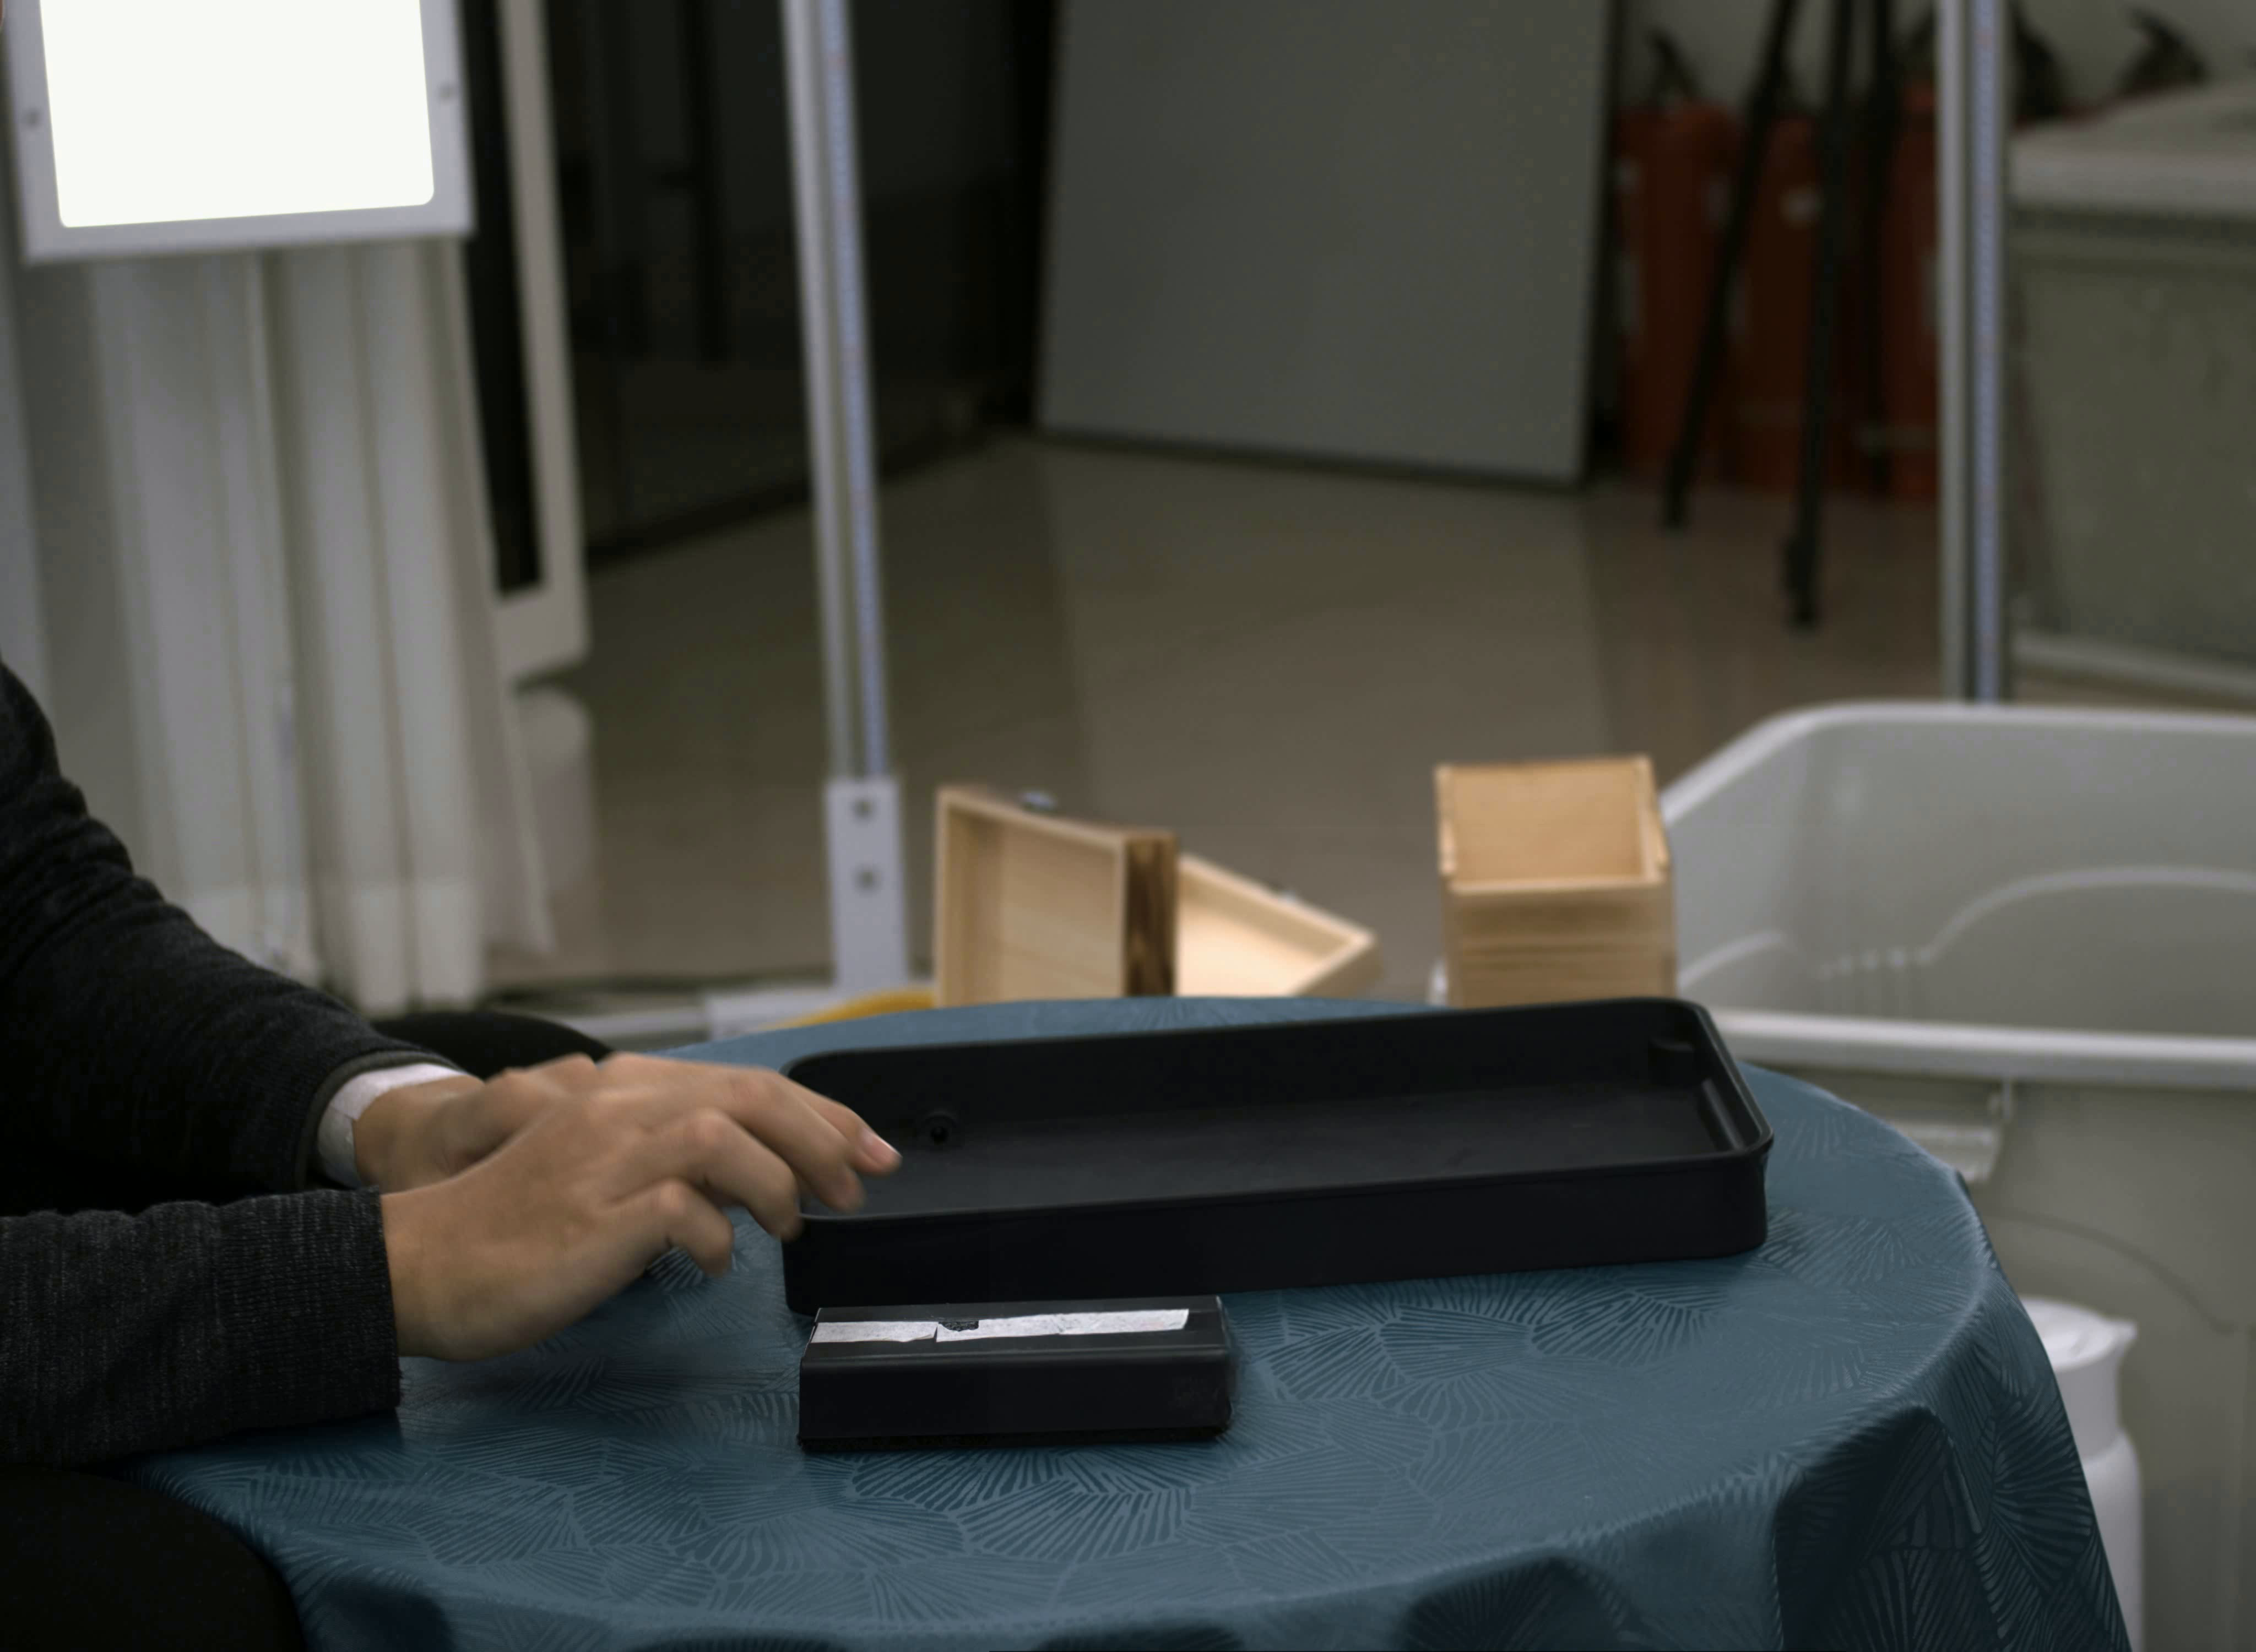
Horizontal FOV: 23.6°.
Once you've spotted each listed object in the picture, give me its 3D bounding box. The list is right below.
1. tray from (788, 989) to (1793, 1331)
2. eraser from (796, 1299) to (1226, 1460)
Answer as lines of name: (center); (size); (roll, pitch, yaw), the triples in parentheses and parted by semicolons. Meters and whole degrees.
tray: (0.048, 0.106, 1.746); (0.313, 0.037, 0.185); (-5, 14, -2)
eraser: (-0.031, 0.160, 1.563); (0.124, 0.031, 0.053); (-4, 11, 6)
